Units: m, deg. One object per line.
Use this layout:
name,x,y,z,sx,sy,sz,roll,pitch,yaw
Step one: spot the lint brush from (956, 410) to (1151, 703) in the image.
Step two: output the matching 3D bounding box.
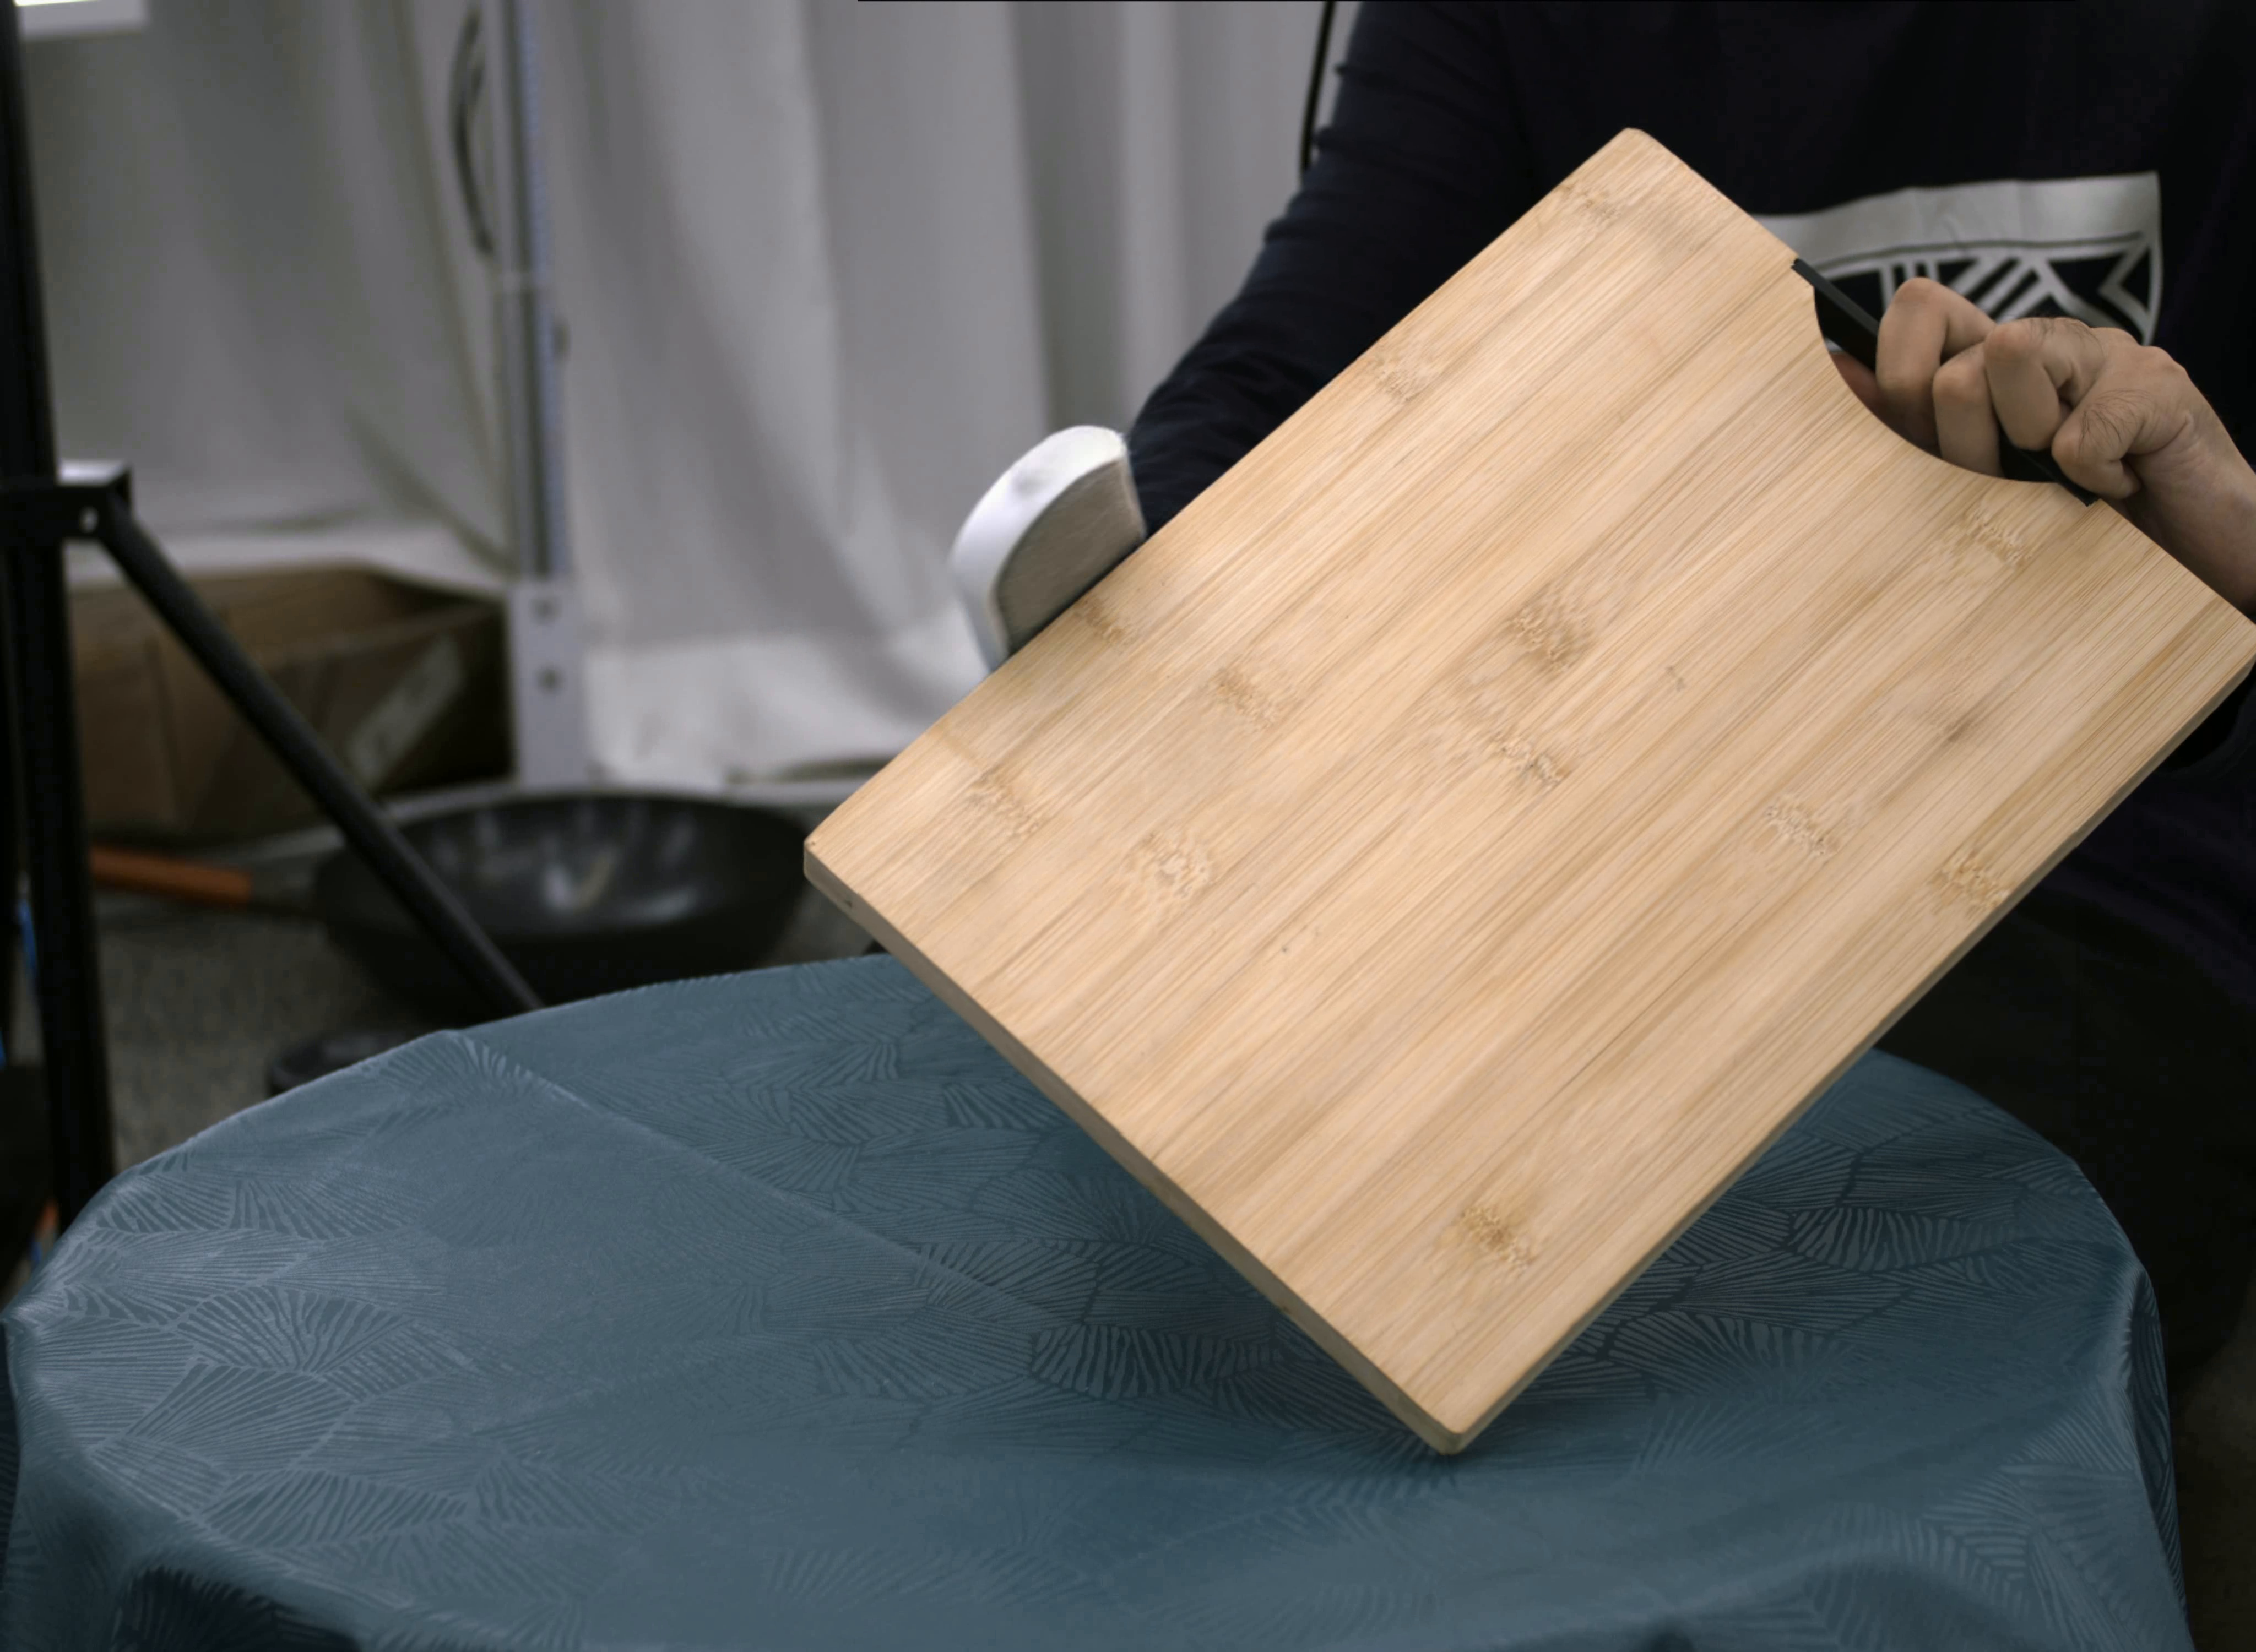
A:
lint brush,-0.012,-0.050,1.545,0.021,0.060,0.306,38,-10,14

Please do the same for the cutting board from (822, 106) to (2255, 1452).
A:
cutting board,0.119,-0.023,1.450,0.254,0.023,0.345,41,68,17
